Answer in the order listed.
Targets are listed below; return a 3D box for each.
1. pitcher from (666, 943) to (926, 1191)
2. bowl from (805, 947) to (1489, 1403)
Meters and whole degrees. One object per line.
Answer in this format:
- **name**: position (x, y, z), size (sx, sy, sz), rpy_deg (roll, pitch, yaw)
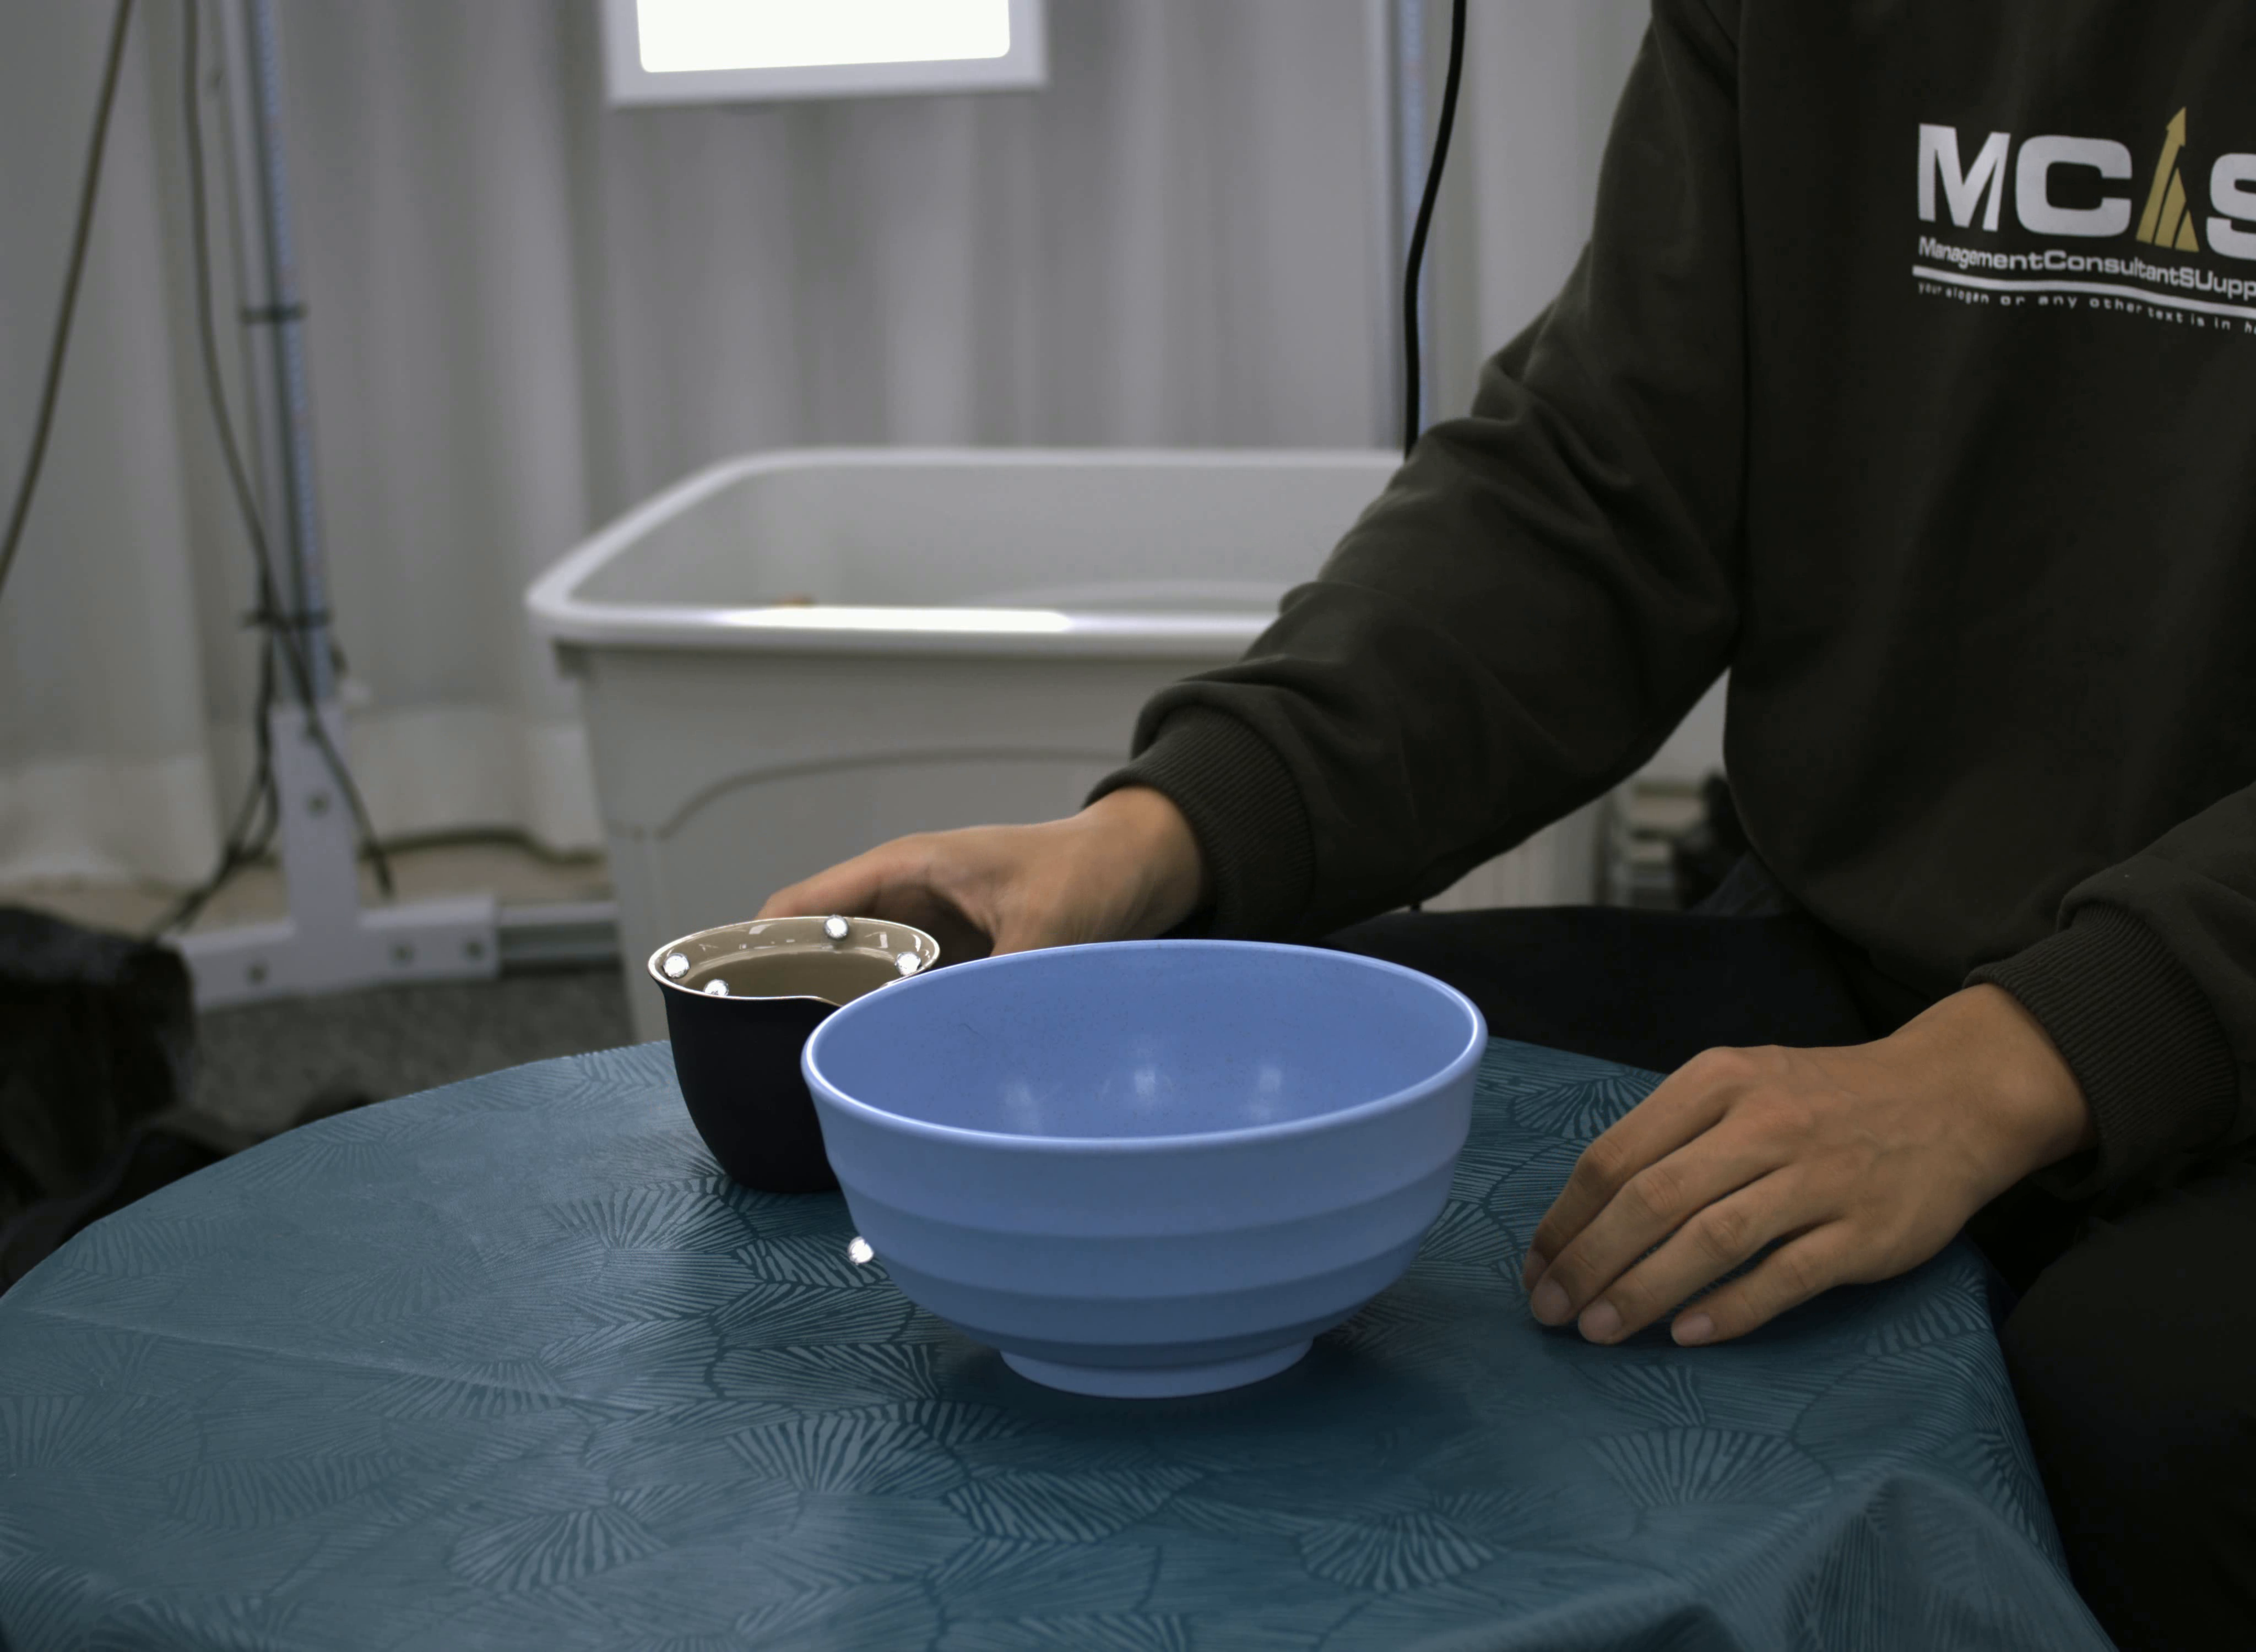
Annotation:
- **pitcher**: position (-0.102, 0.076, 1.740), size (0.083, 0.071, 0.096), rpy_deg (-8, 15, -26)
- **bowl**: position (0.006, 0.106, 1.574), size (0.196, 0.095, 0.198), rpy_deg (-1, 14, 0)
